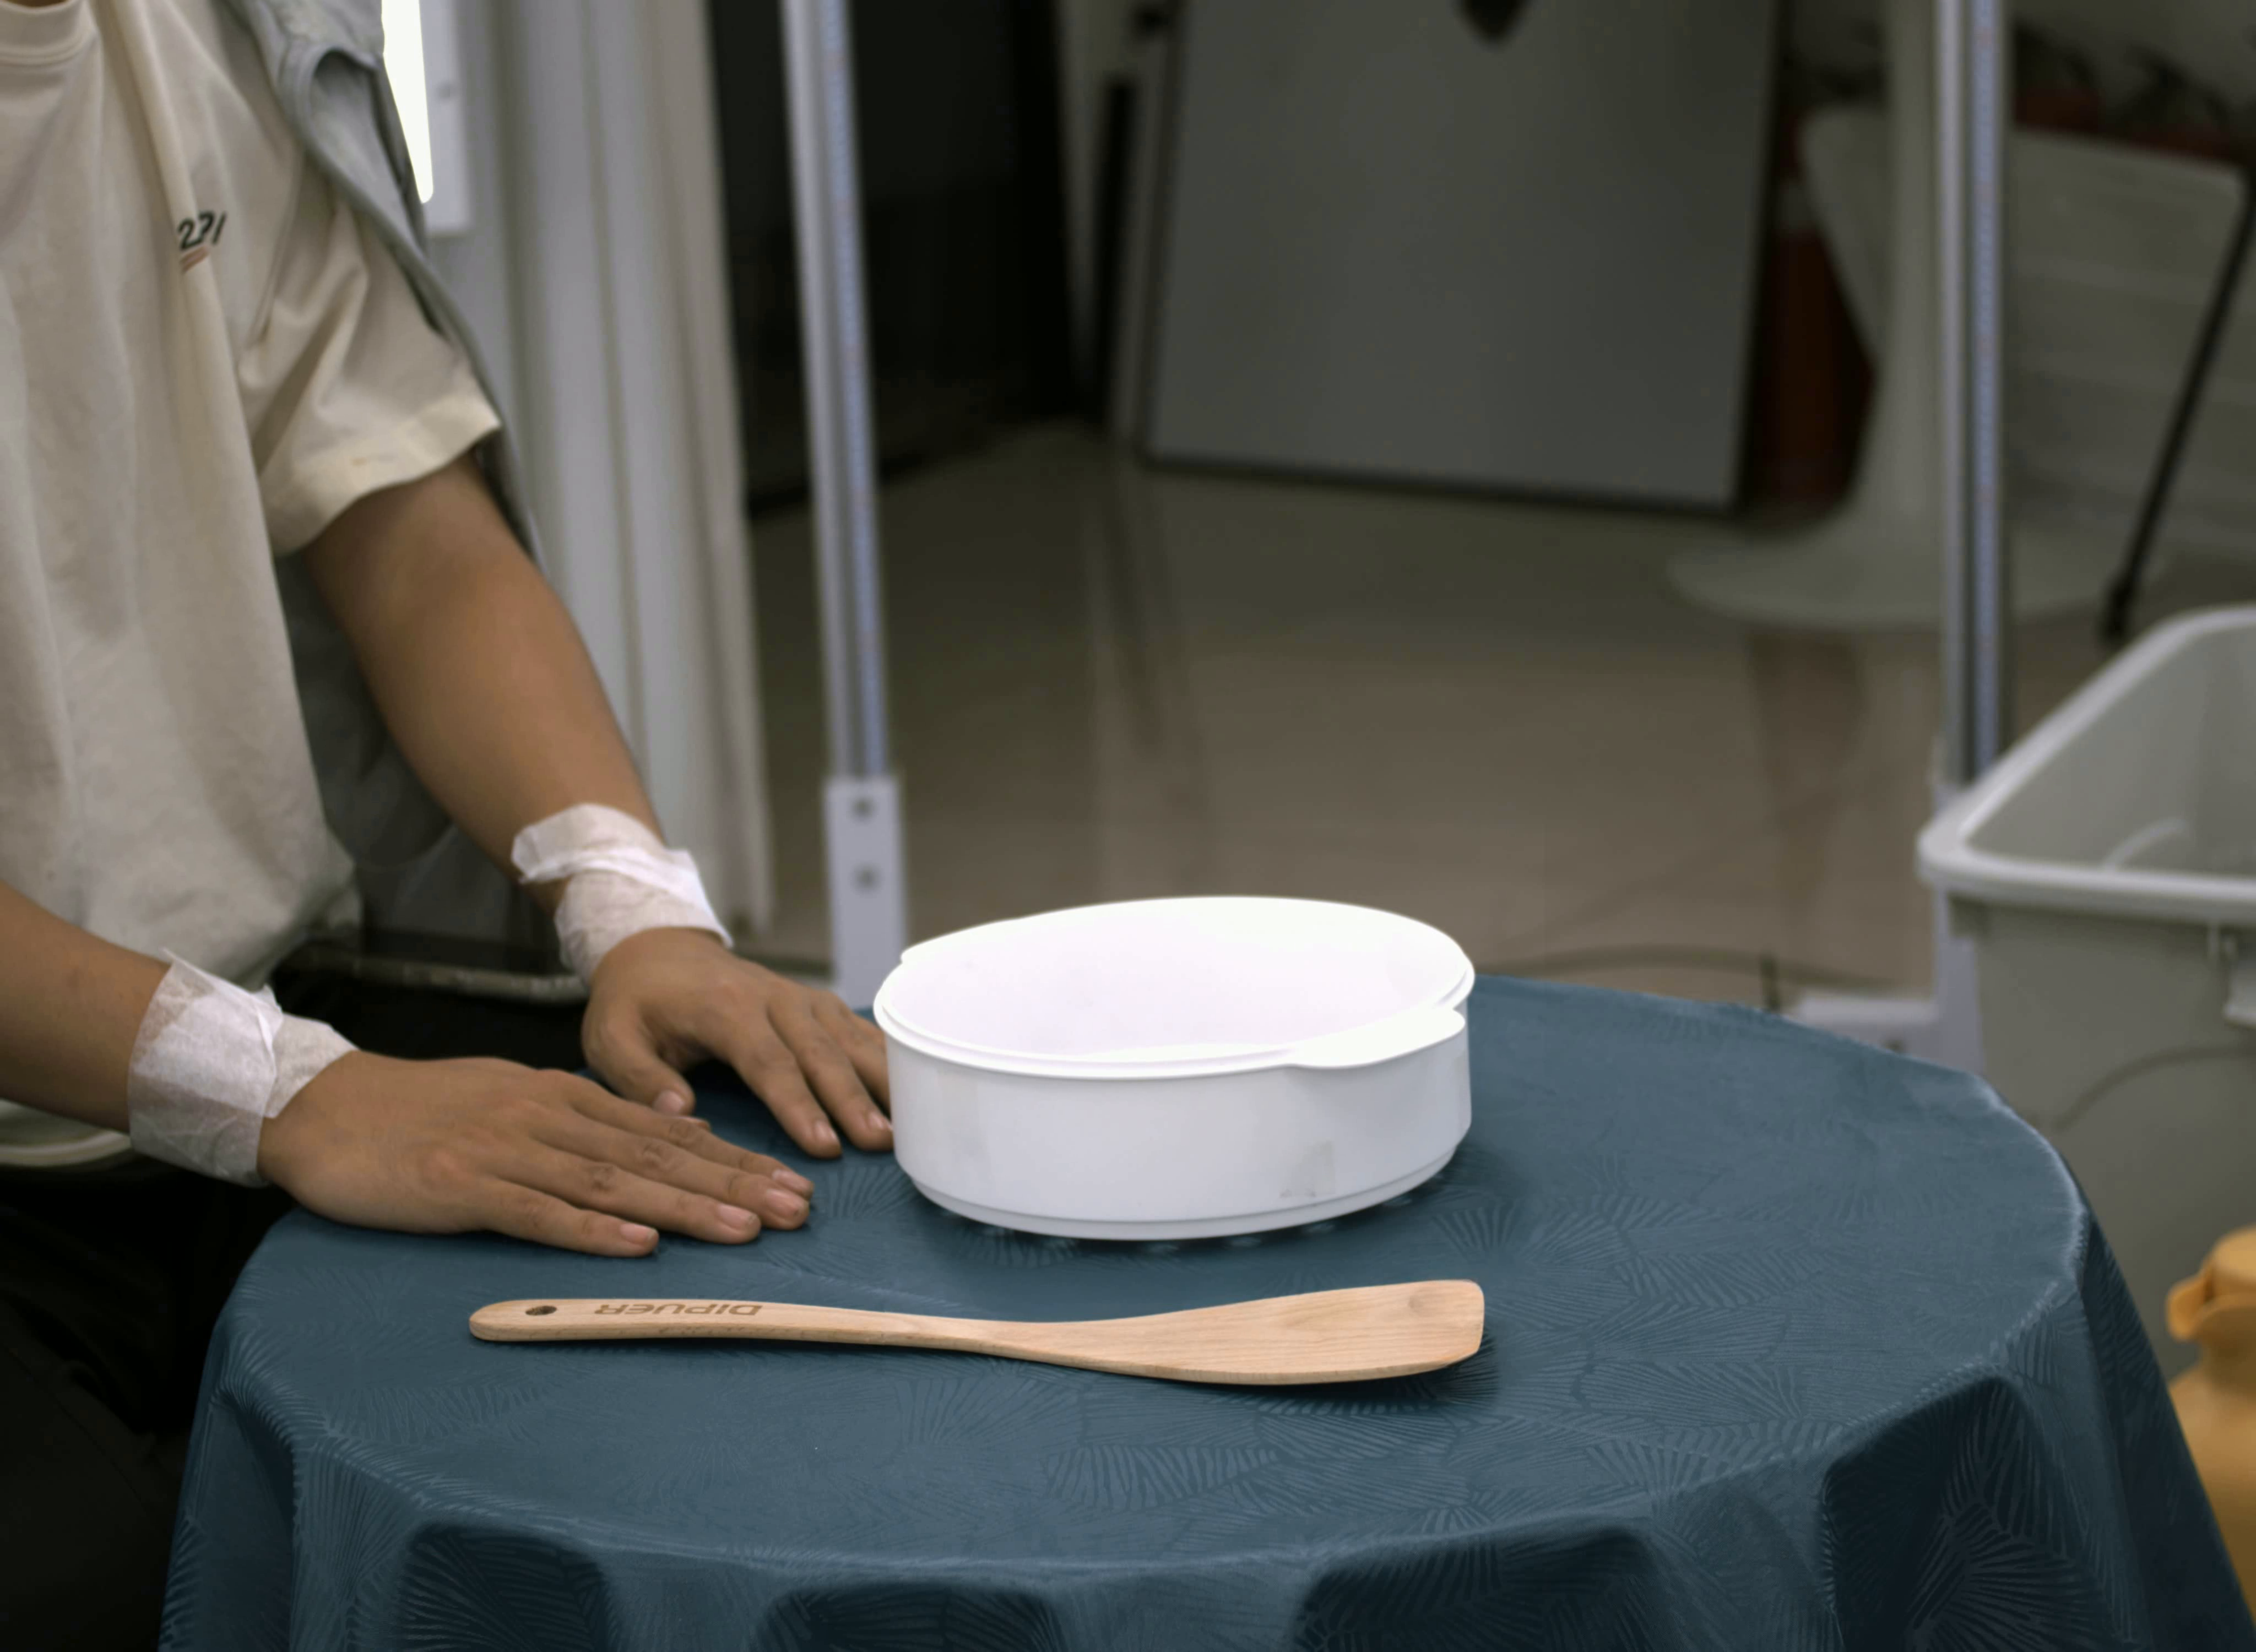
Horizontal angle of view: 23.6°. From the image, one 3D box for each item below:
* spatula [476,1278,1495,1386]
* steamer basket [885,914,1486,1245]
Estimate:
[{"bbox_3d":[-0.044,0.151,1.631,0.326,0.017,0.079,0,14,16],"label":"spatula"},{"bbox_3d":[0.020,0.084,1.785,0.197,0.070,0.233,-13,16,-39],"label":"steamer basket"}]
